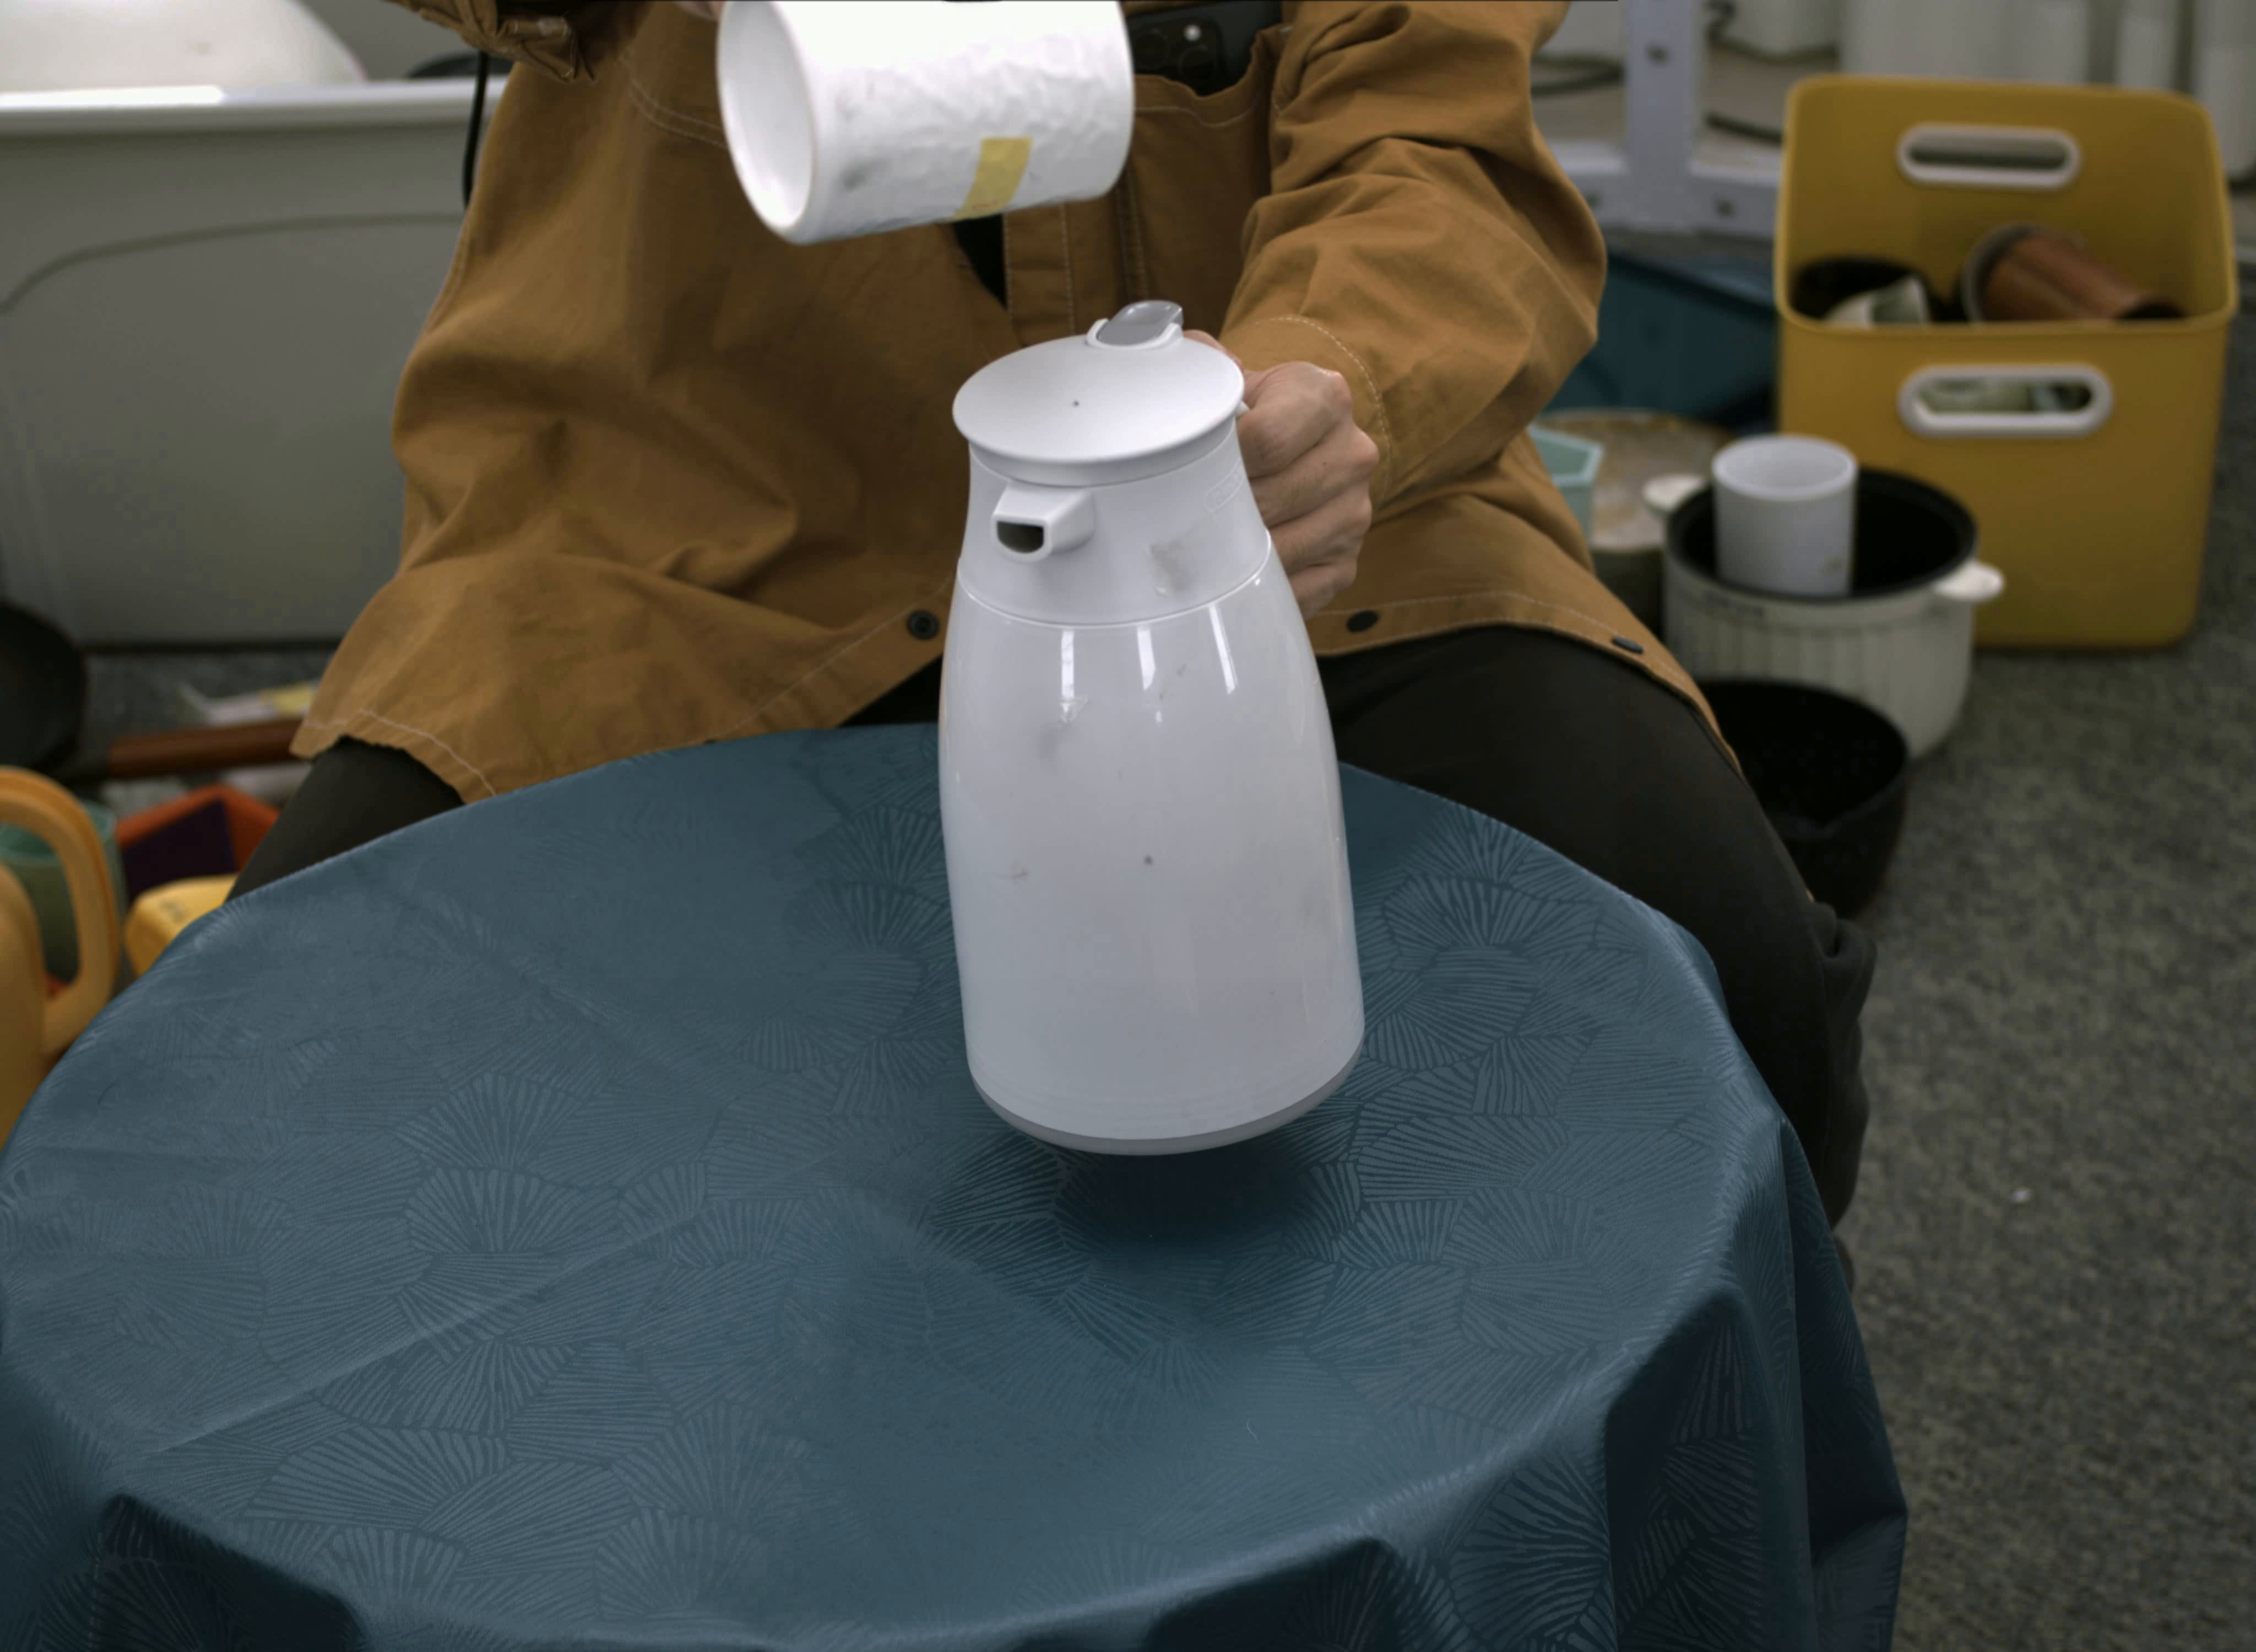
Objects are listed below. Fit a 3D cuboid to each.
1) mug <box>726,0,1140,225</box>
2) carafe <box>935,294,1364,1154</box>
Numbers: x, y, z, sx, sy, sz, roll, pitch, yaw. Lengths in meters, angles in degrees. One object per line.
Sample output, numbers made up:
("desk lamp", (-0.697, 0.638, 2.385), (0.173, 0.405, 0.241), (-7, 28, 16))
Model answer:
("mug", (-0.066, -0.238, 1.709), (0.102, 0.083, 0.120), (-9, 45, -26))
("carafe", (0.007, -0.044, 1.817), (0.131, 0.246, 0.170), (5, 29, 22))
